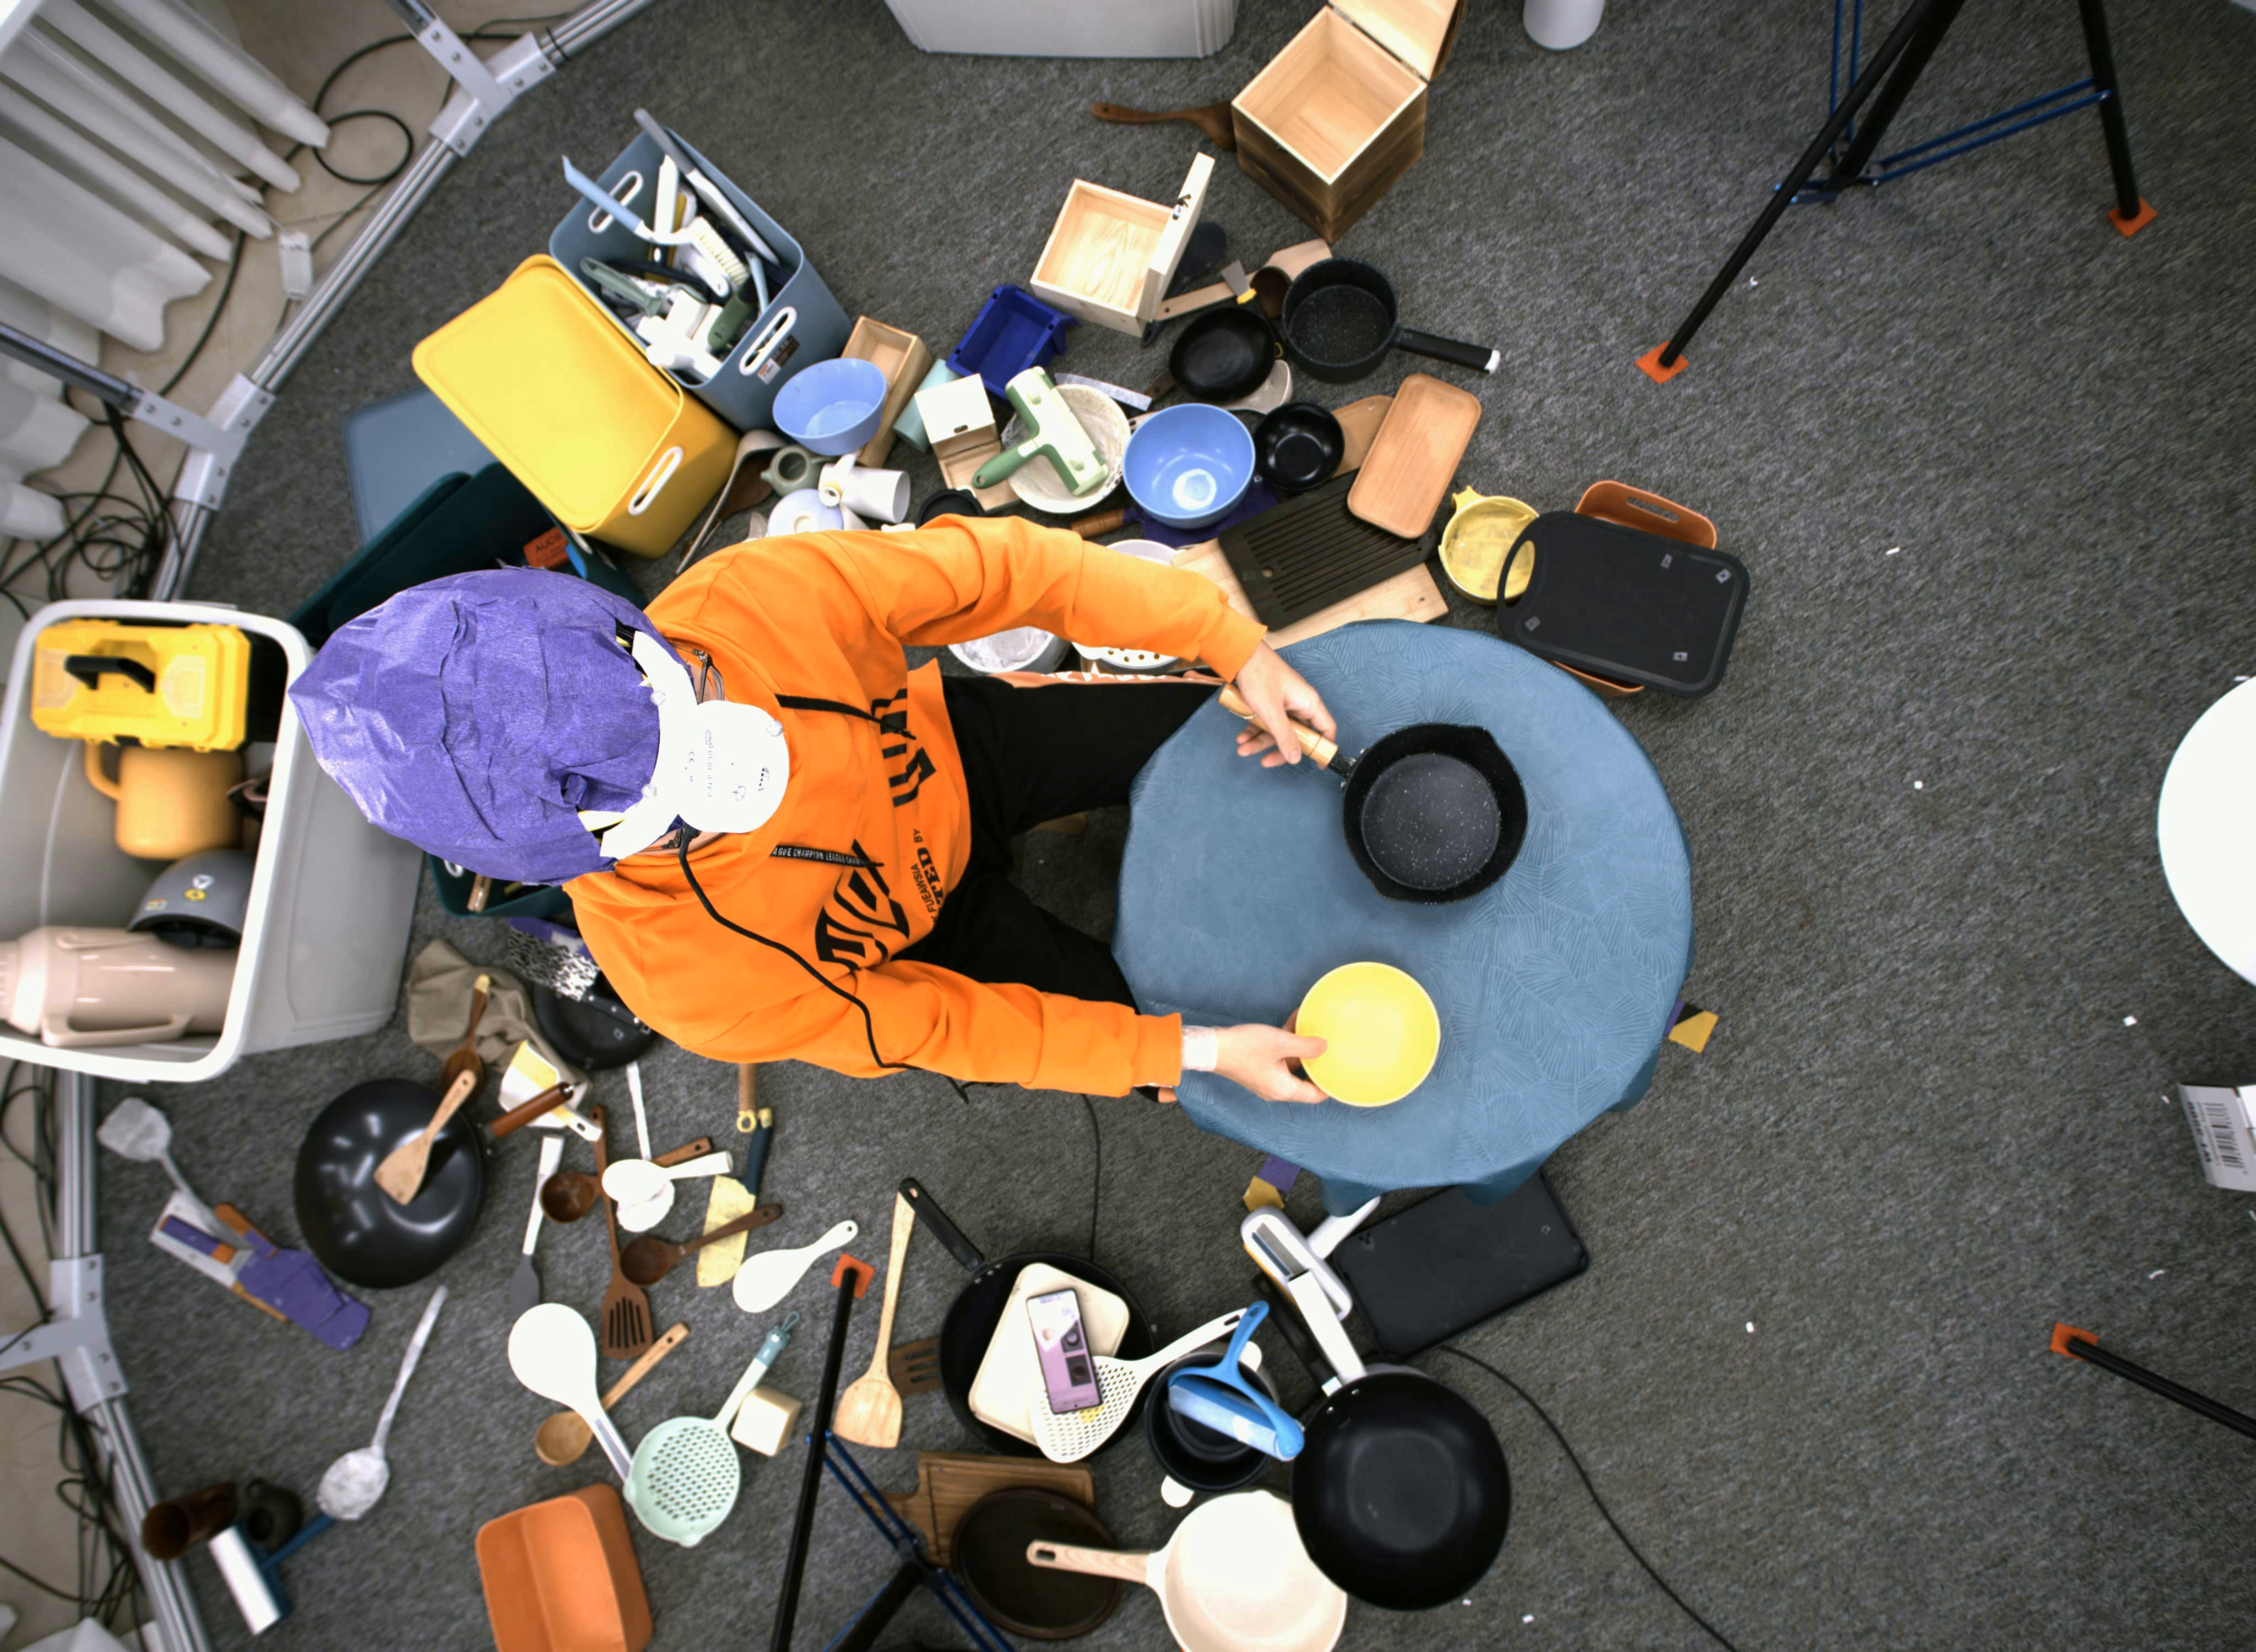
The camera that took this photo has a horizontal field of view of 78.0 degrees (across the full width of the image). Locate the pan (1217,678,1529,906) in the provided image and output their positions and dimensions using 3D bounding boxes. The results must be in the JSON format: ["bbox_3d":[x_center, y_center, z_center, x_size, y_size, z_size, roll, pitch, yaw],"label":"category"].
[{"bbox_3d":[0.243,-0.051,1.417,0.342,0.108,0.208,30,93,9],"label":"pan"}]

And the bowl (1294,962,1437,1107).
[{"bbox_3d":[0.244,0.213,1.427,0.146,0.060,0.144,-1,85,10],"label":"bowl"}]
